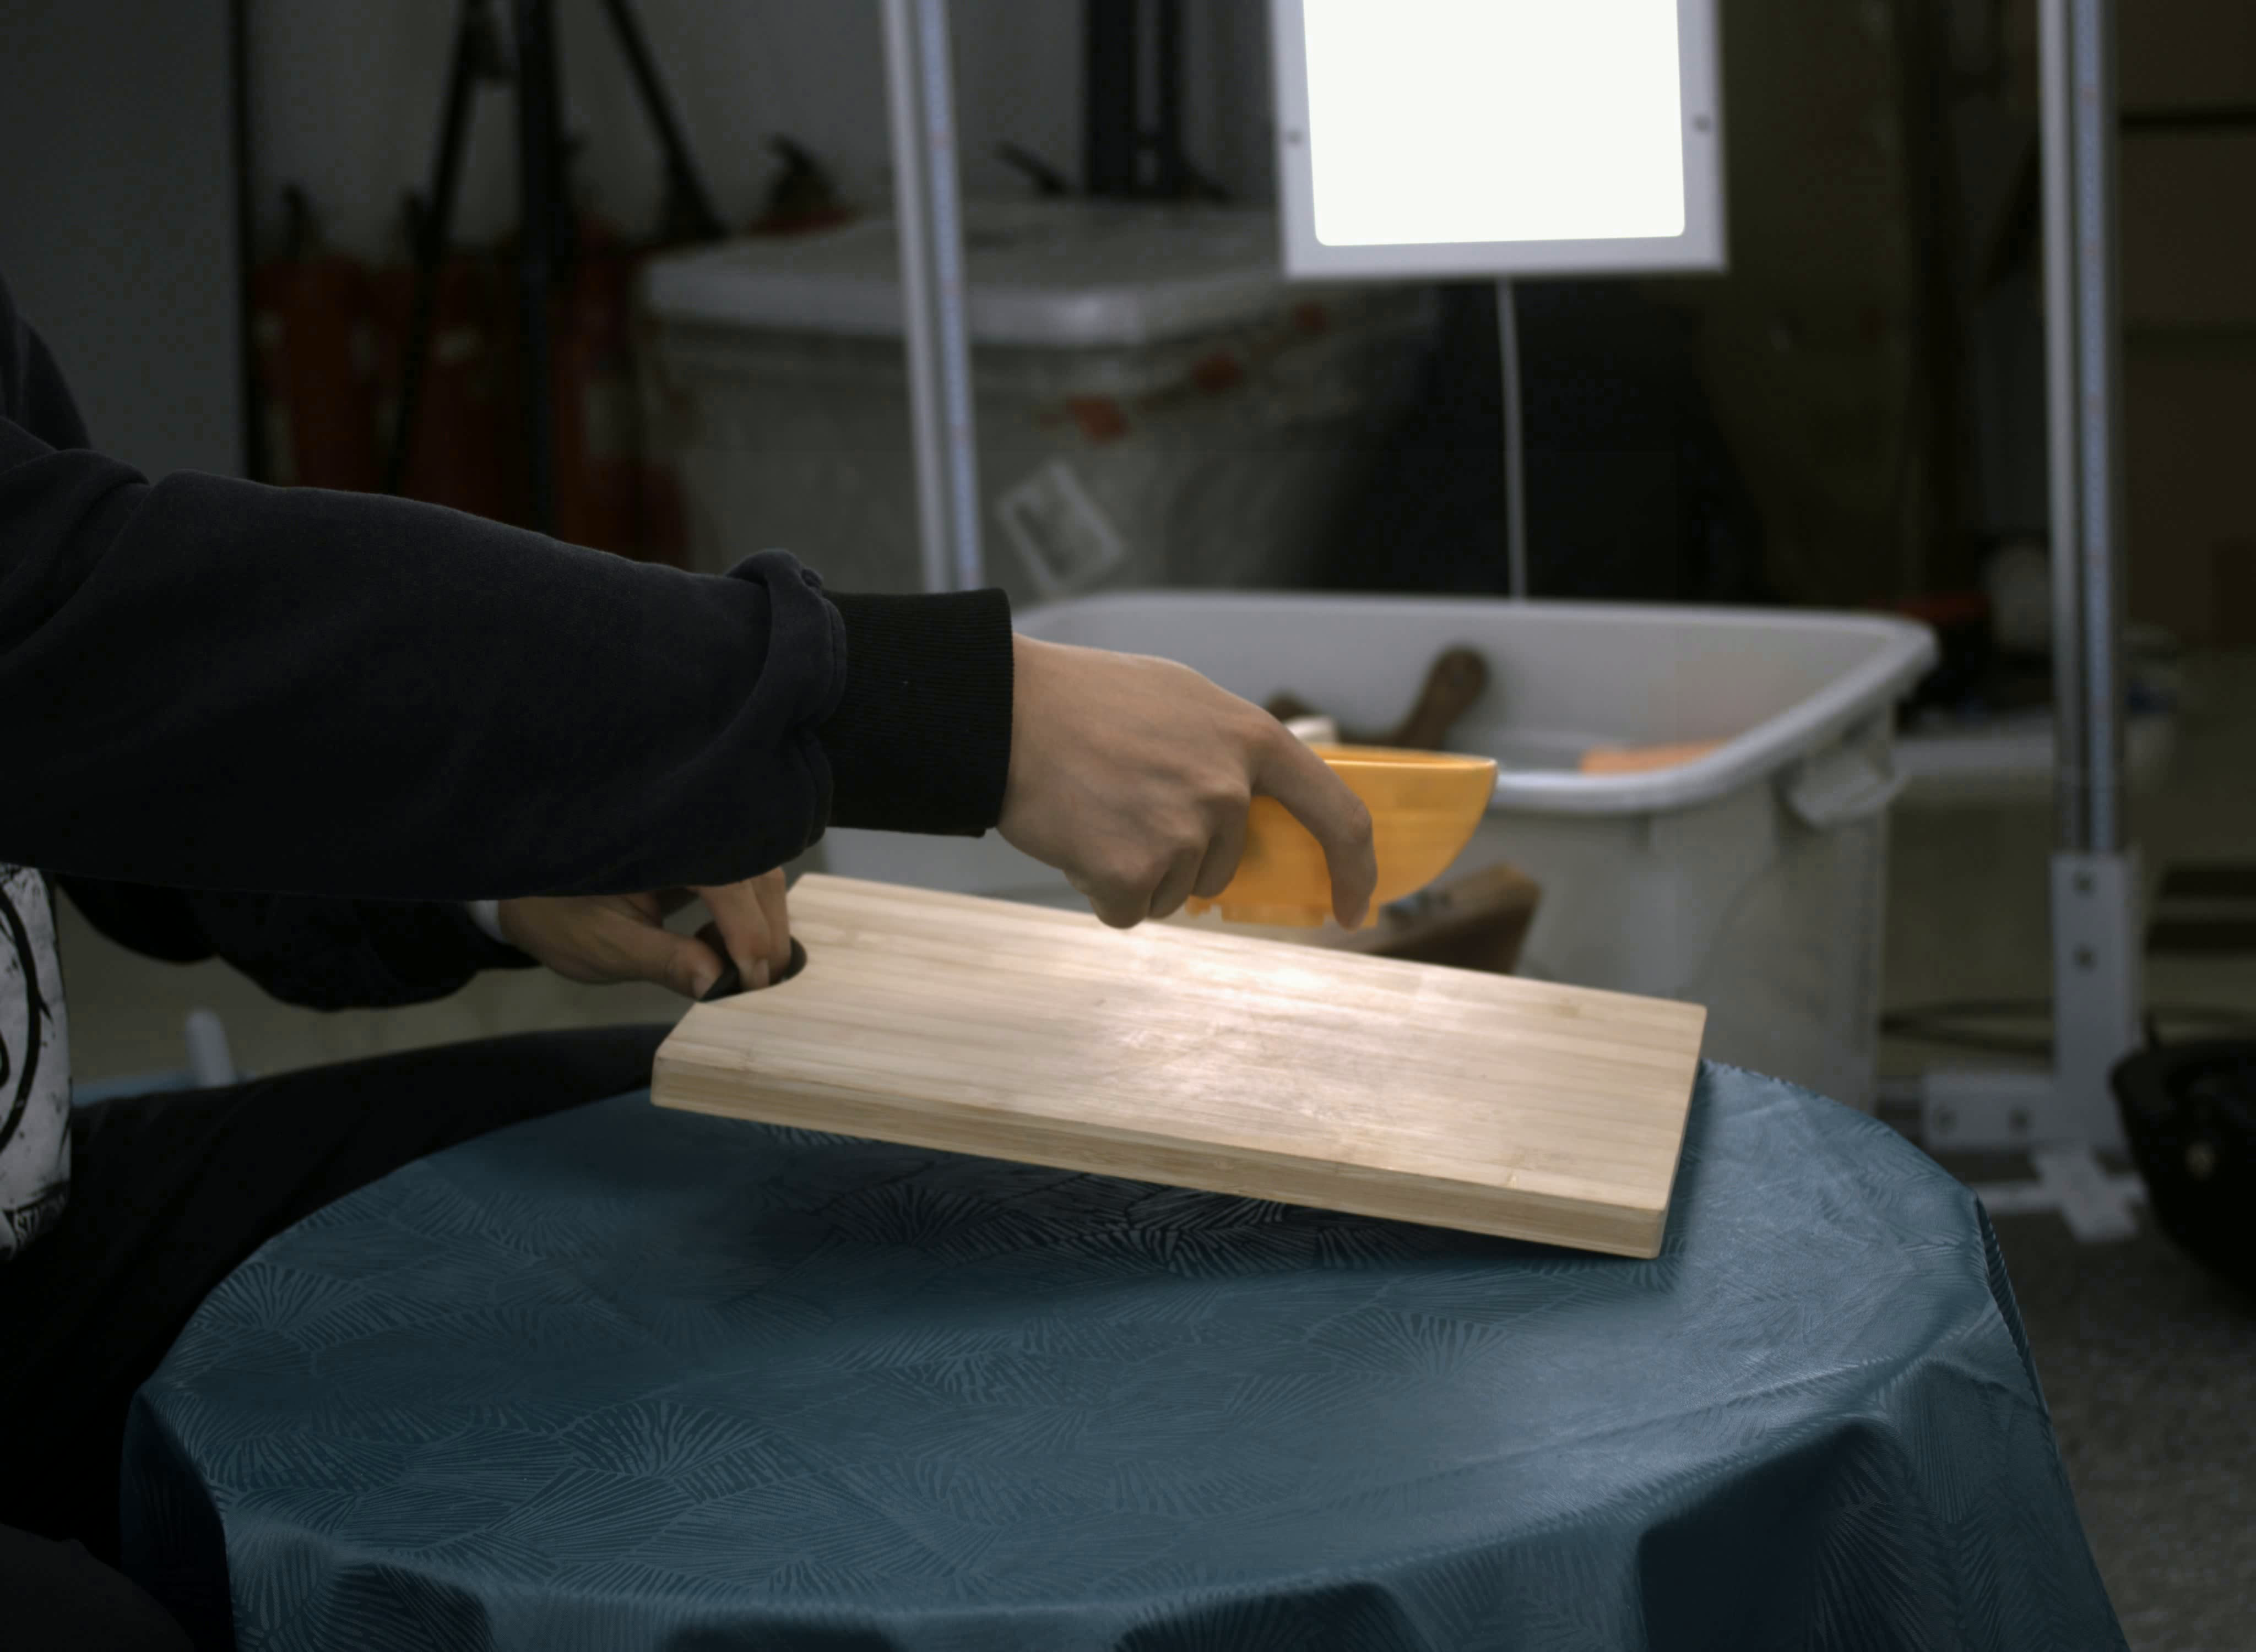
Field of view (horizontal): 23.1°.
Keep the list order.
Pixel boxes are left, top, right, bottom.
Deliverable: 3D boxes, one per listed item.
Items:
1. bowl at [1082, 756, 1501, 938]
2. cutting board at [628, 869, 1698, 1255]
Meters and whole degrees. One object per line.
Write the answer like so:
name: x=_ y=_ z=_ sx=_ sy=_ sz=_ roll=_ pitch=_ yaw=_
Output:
bowl: x=0.056 y=0.008 z=1.881 sx=0.145 sy=0.060 sz=0.145 roll=1 pitch=-1 yaw=-1
cutting board: x=0.021 y=0.079 z=1.920 sx=0.350 sy=0.024 sz=0.248 roll=8 pitch=15 yaw=8
